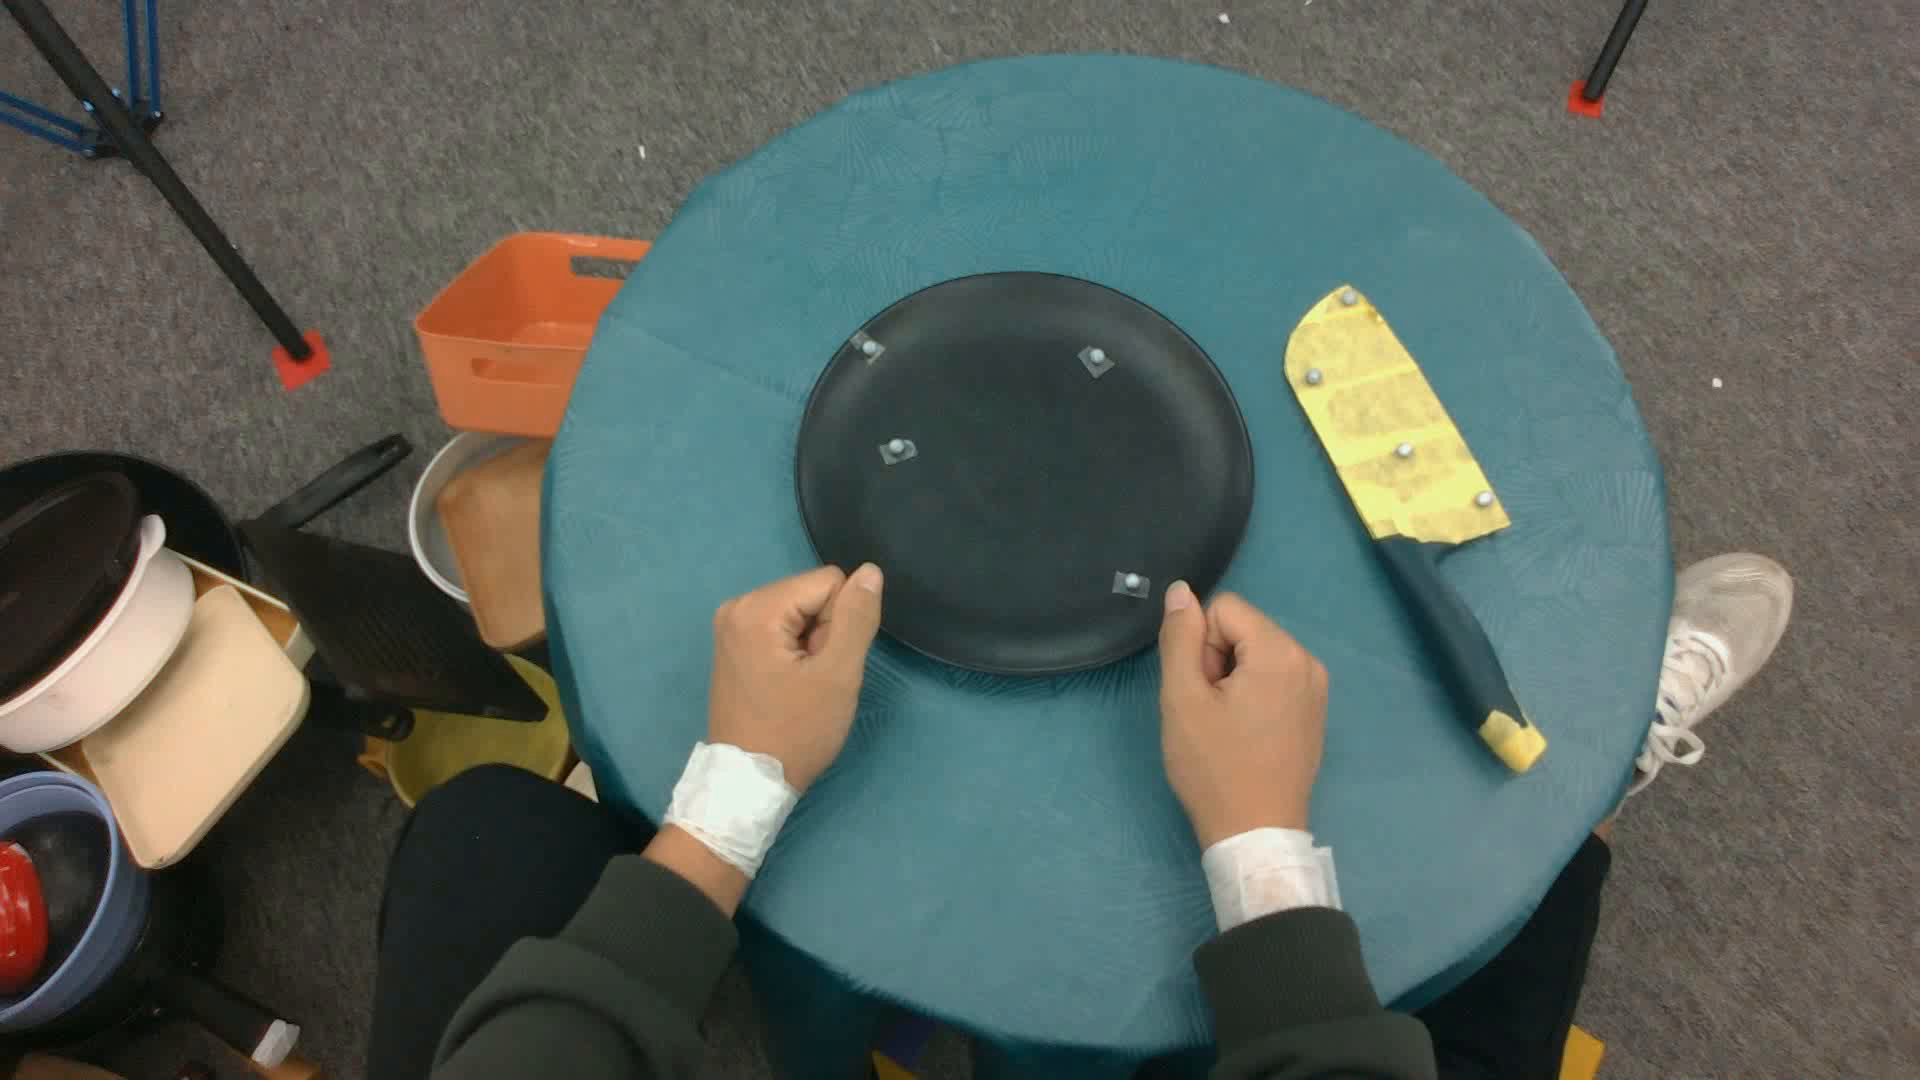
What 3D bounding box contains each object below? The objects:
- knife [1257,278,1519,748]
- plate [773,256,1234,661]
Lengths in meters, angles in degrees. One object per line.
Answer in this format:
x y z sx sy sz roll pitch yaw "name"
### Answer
0.234 -0.027 0.735 0.081 0.027 0.290 -14 64 -7 "knife"
0.023 -0.048 0.734 0.244 0.023 0.245 1 64 -1 "plate"
